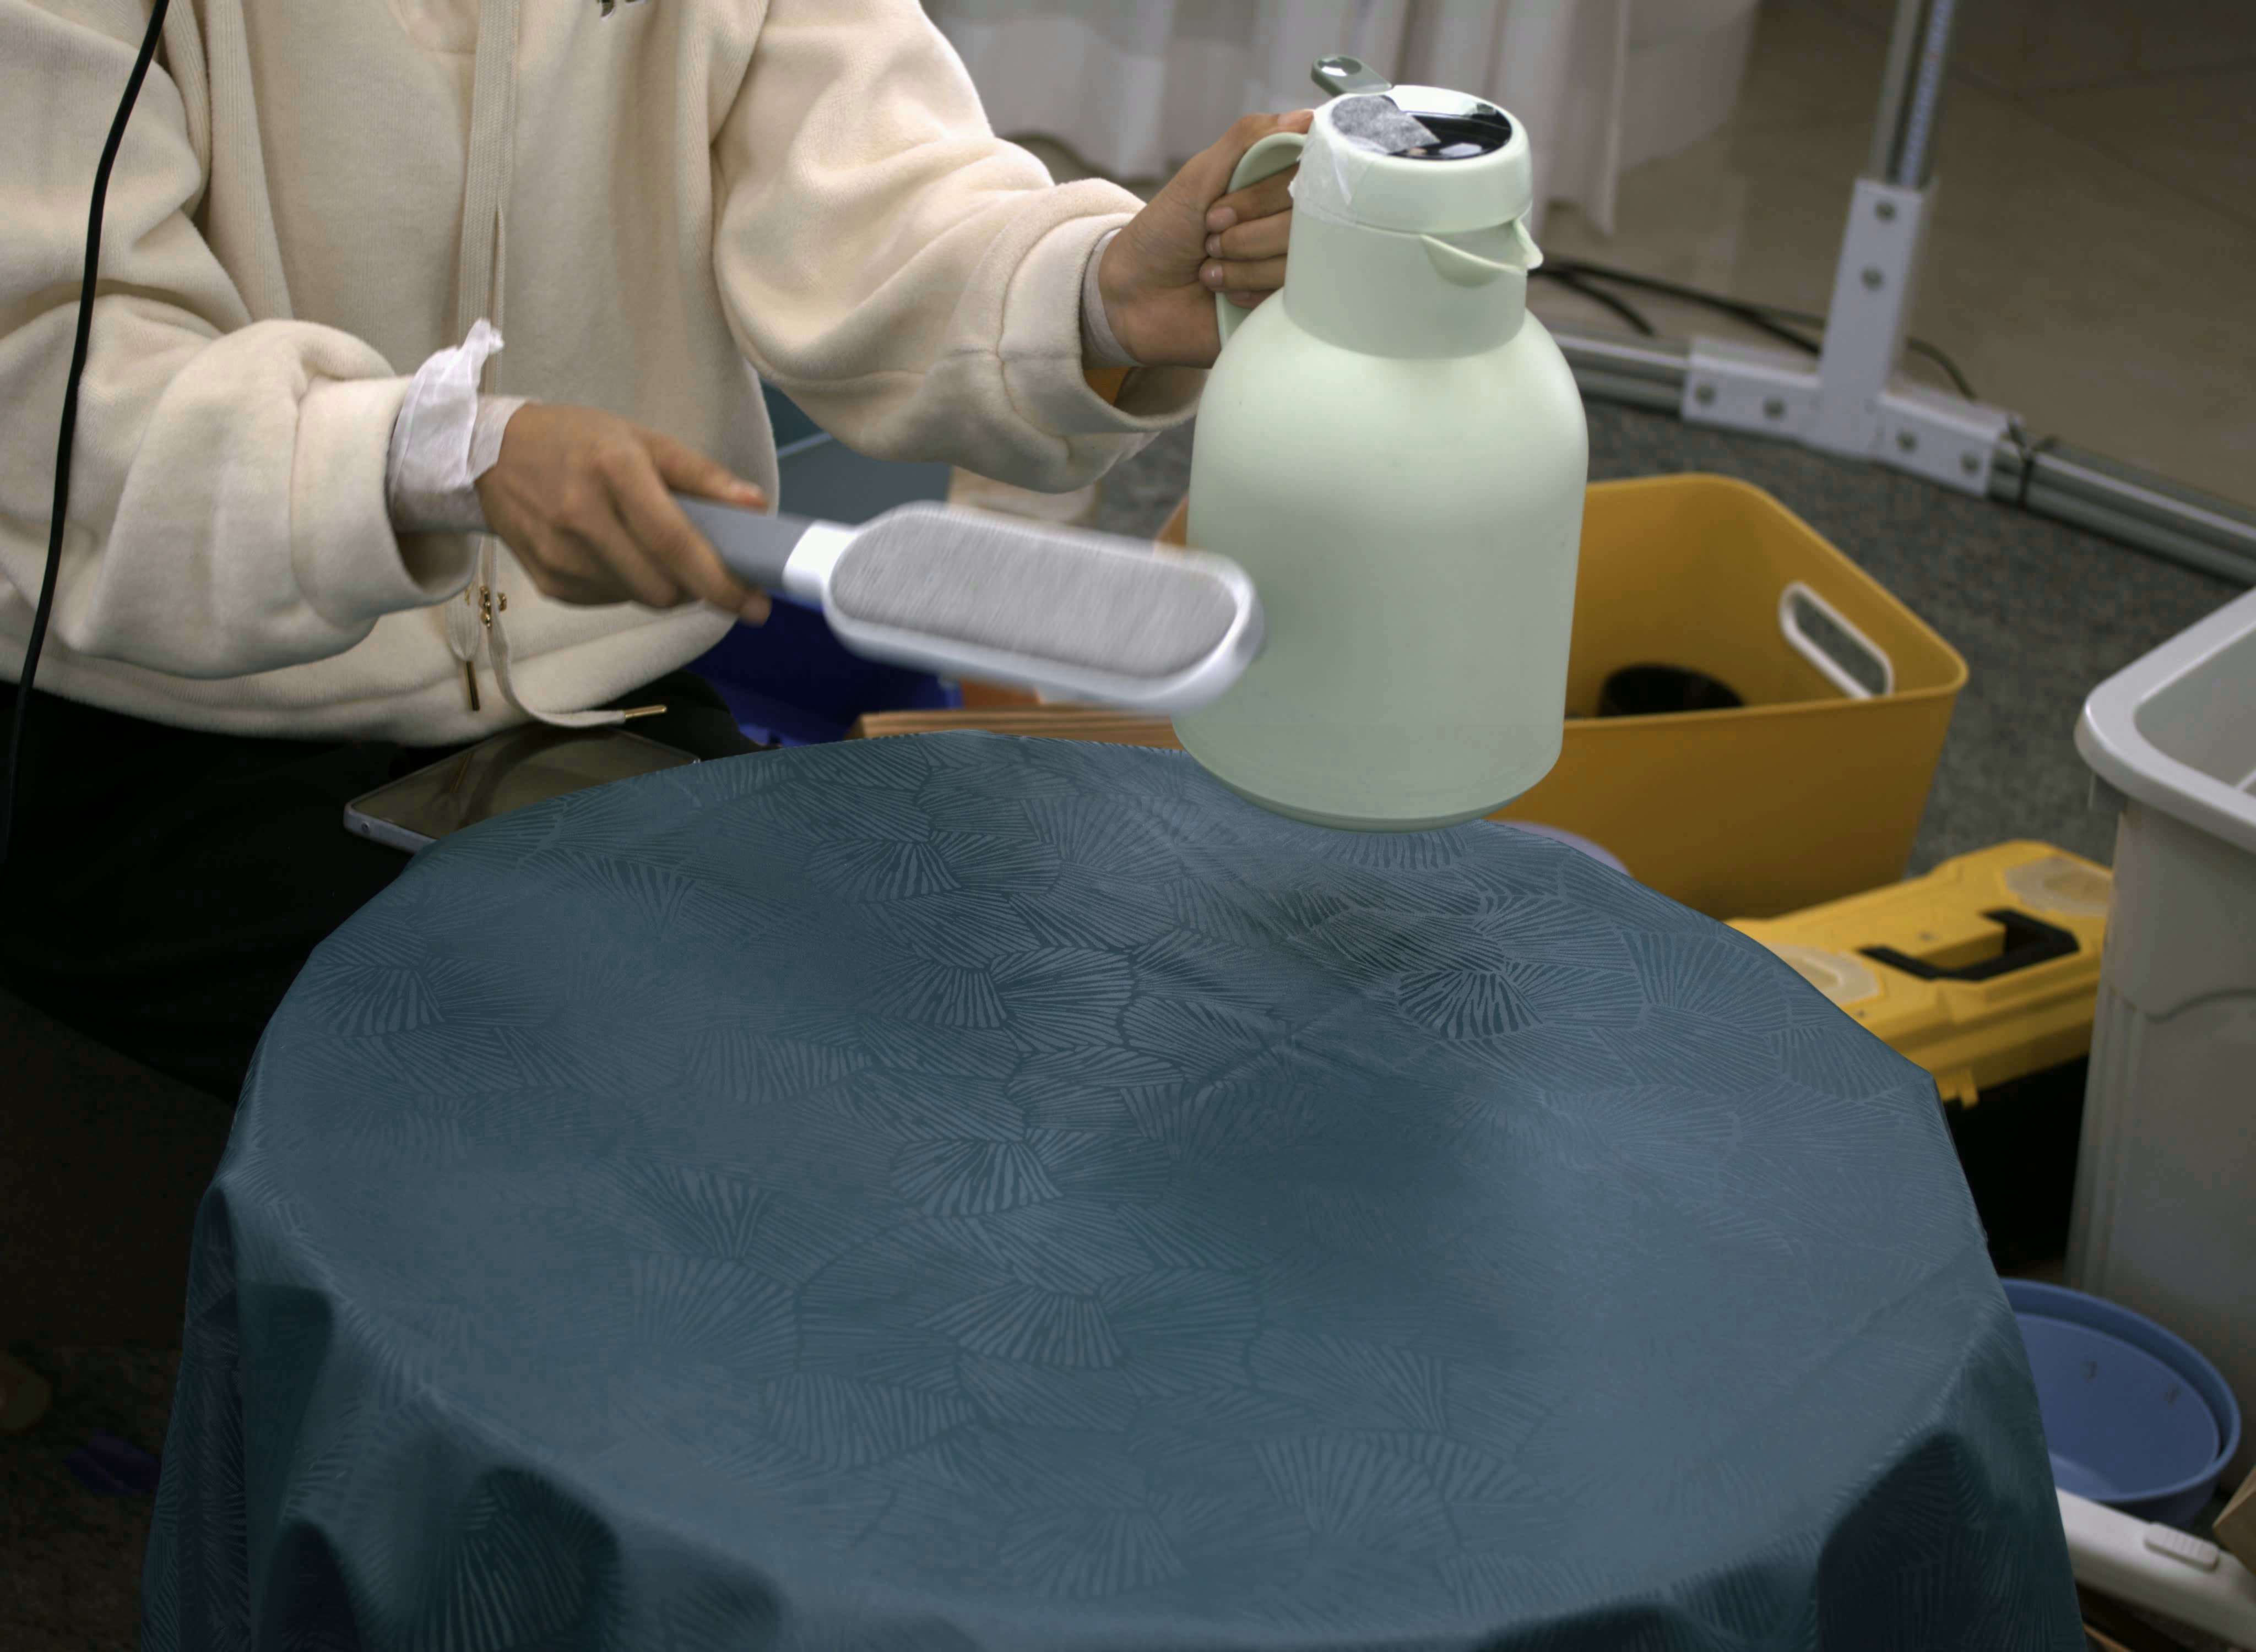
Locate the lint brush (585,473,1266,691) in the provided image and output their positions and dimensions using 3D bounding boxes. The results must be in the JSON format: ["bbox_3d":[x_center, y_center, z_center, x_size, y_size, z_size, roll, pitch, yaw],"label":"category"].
[{"bbox_3d":[-0.075,-0.091,1.808,0.311,0.021,0.060,12,63,41],"label":"lint brush"}]

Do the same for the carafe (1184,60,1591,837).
[{"bbox_3d":[0.088,-0.141,1.917,0.143,0.256,0.188,-13,29,-25],"label":"carafe"}]
